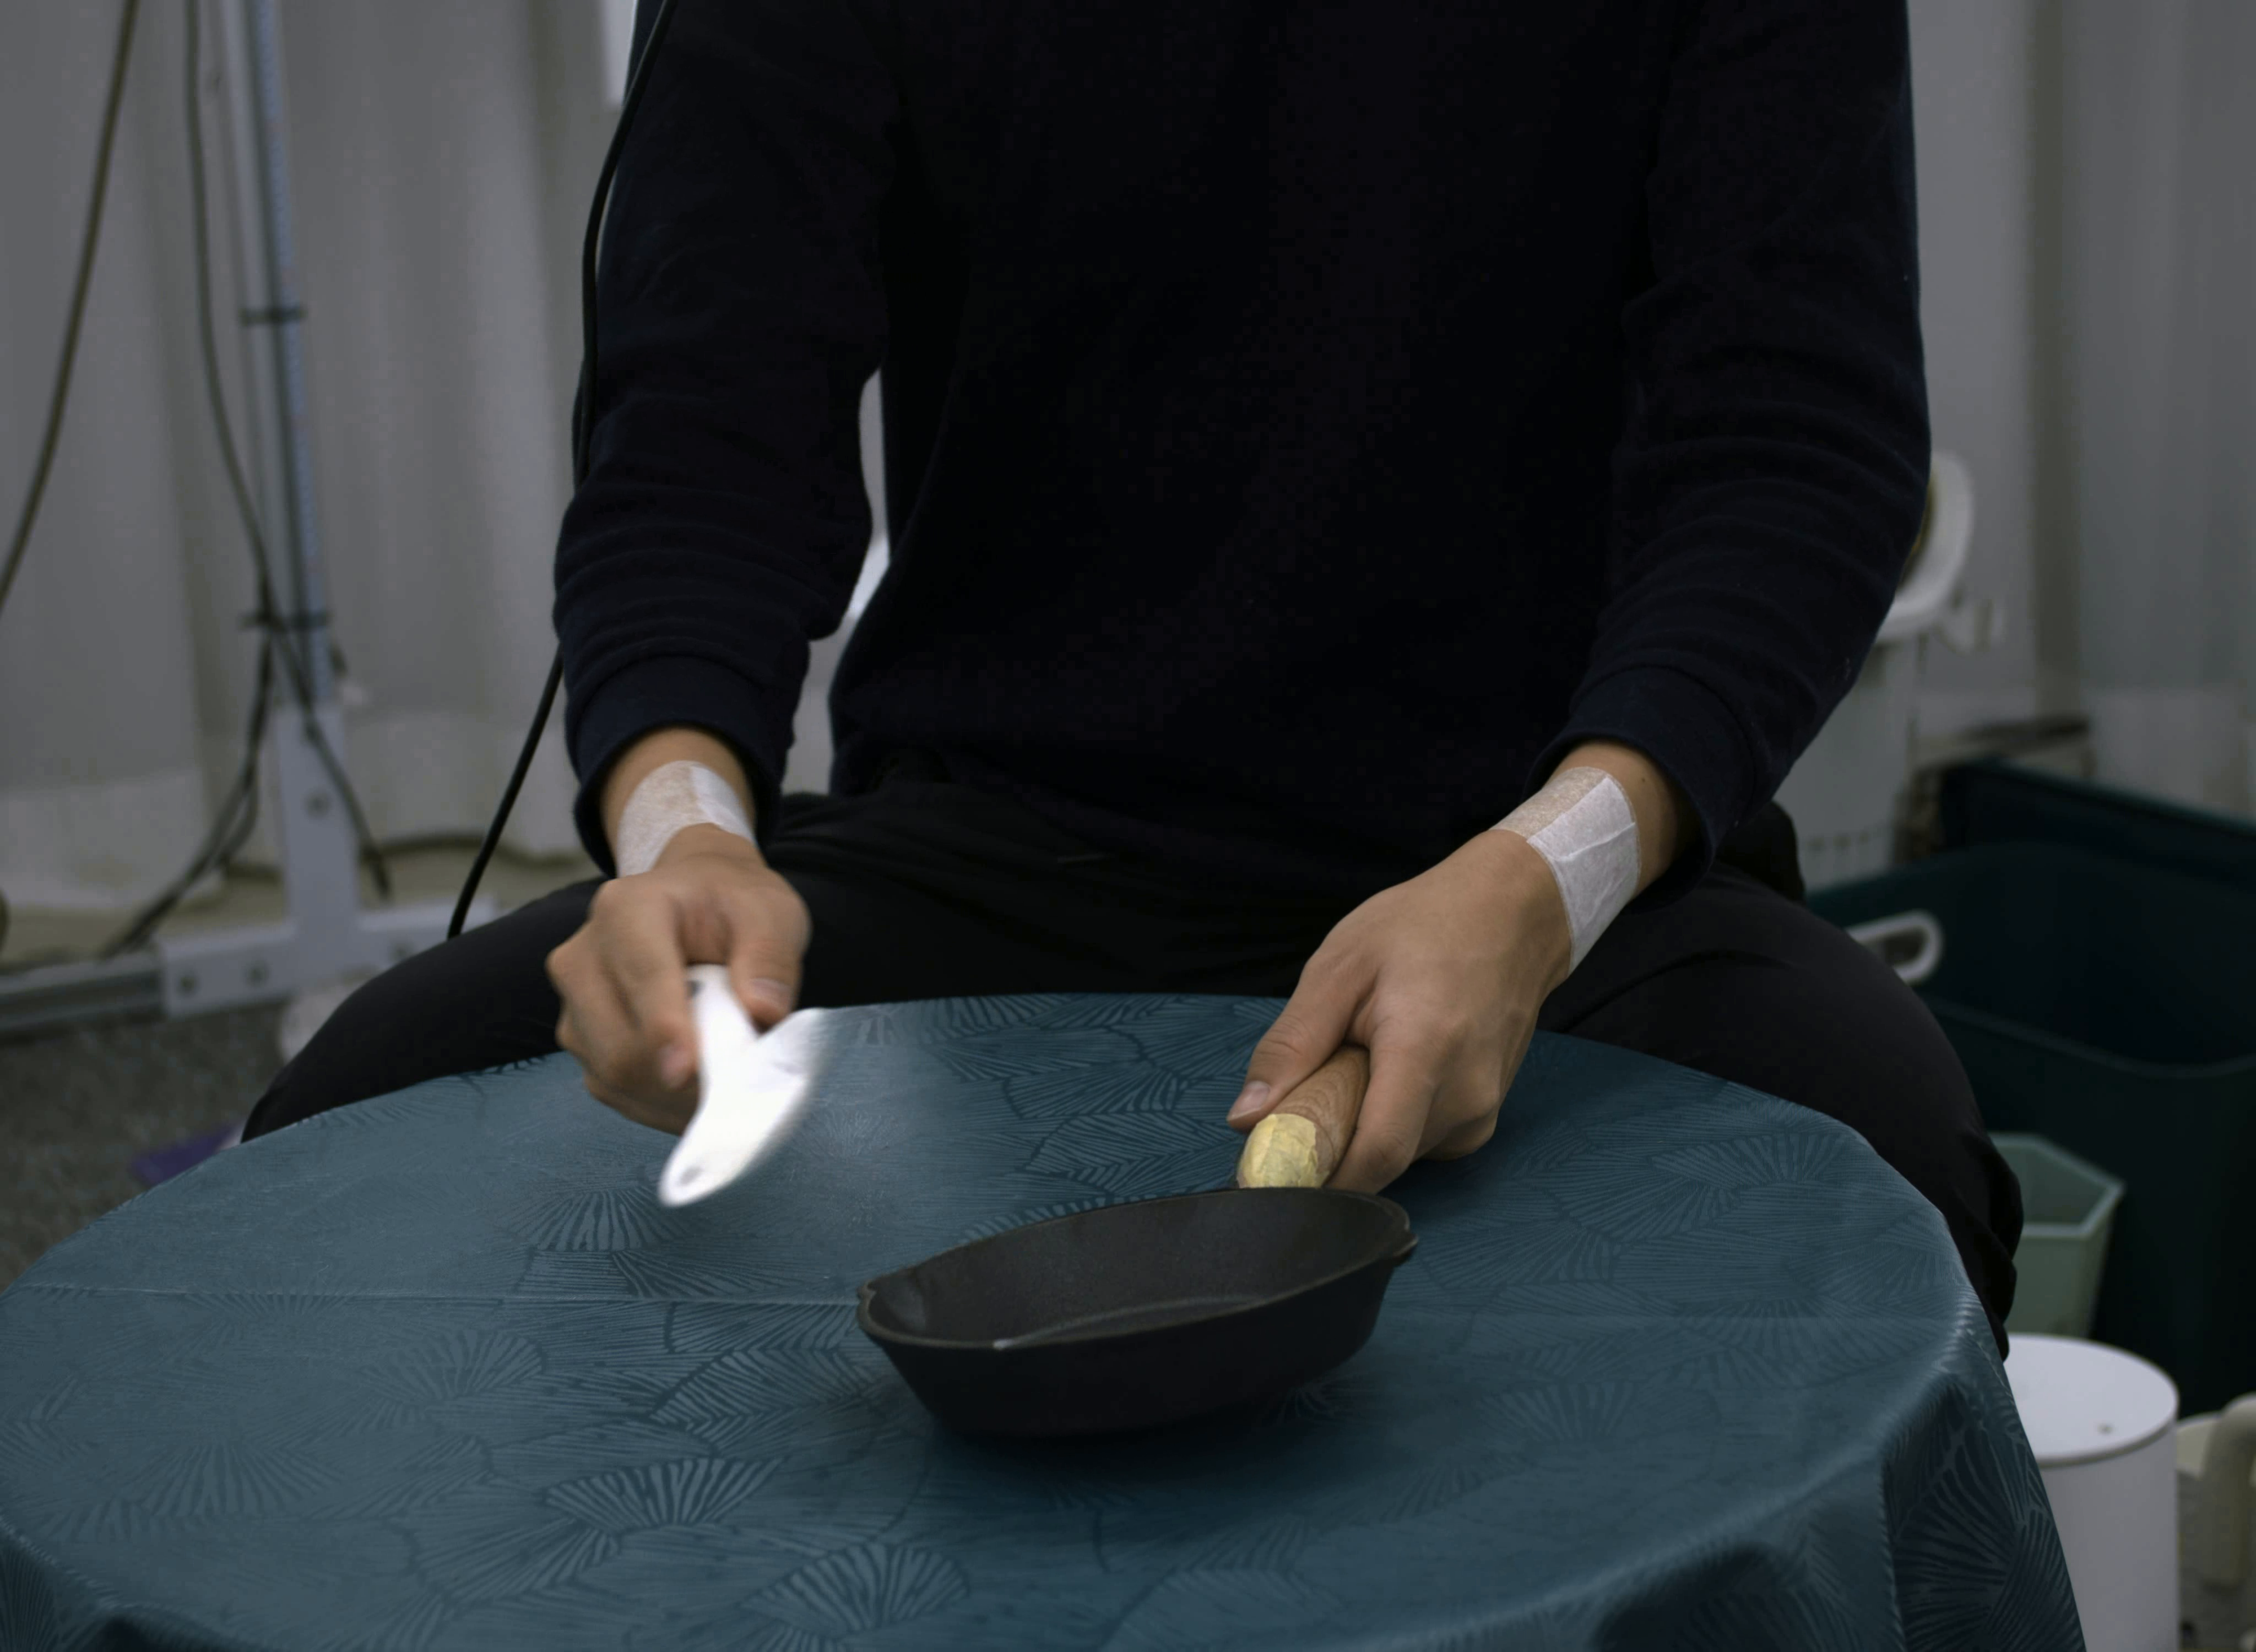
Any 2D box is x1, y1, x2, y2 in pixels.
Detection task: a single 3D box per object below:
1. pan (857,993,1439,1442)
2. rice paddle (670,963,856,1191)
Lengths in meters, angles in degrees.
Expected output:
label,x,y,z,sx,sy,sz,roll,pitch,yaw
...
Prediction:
label,x,y,z,sx,sy,sz,roll,pitch,yaw
pan,0.036,0.112,1.606,0.169,0.049,0.325,-6,11,25
rice paddle,-0.110,0.068,1.598,0.069,0.029,0.206,-49,11,-1
